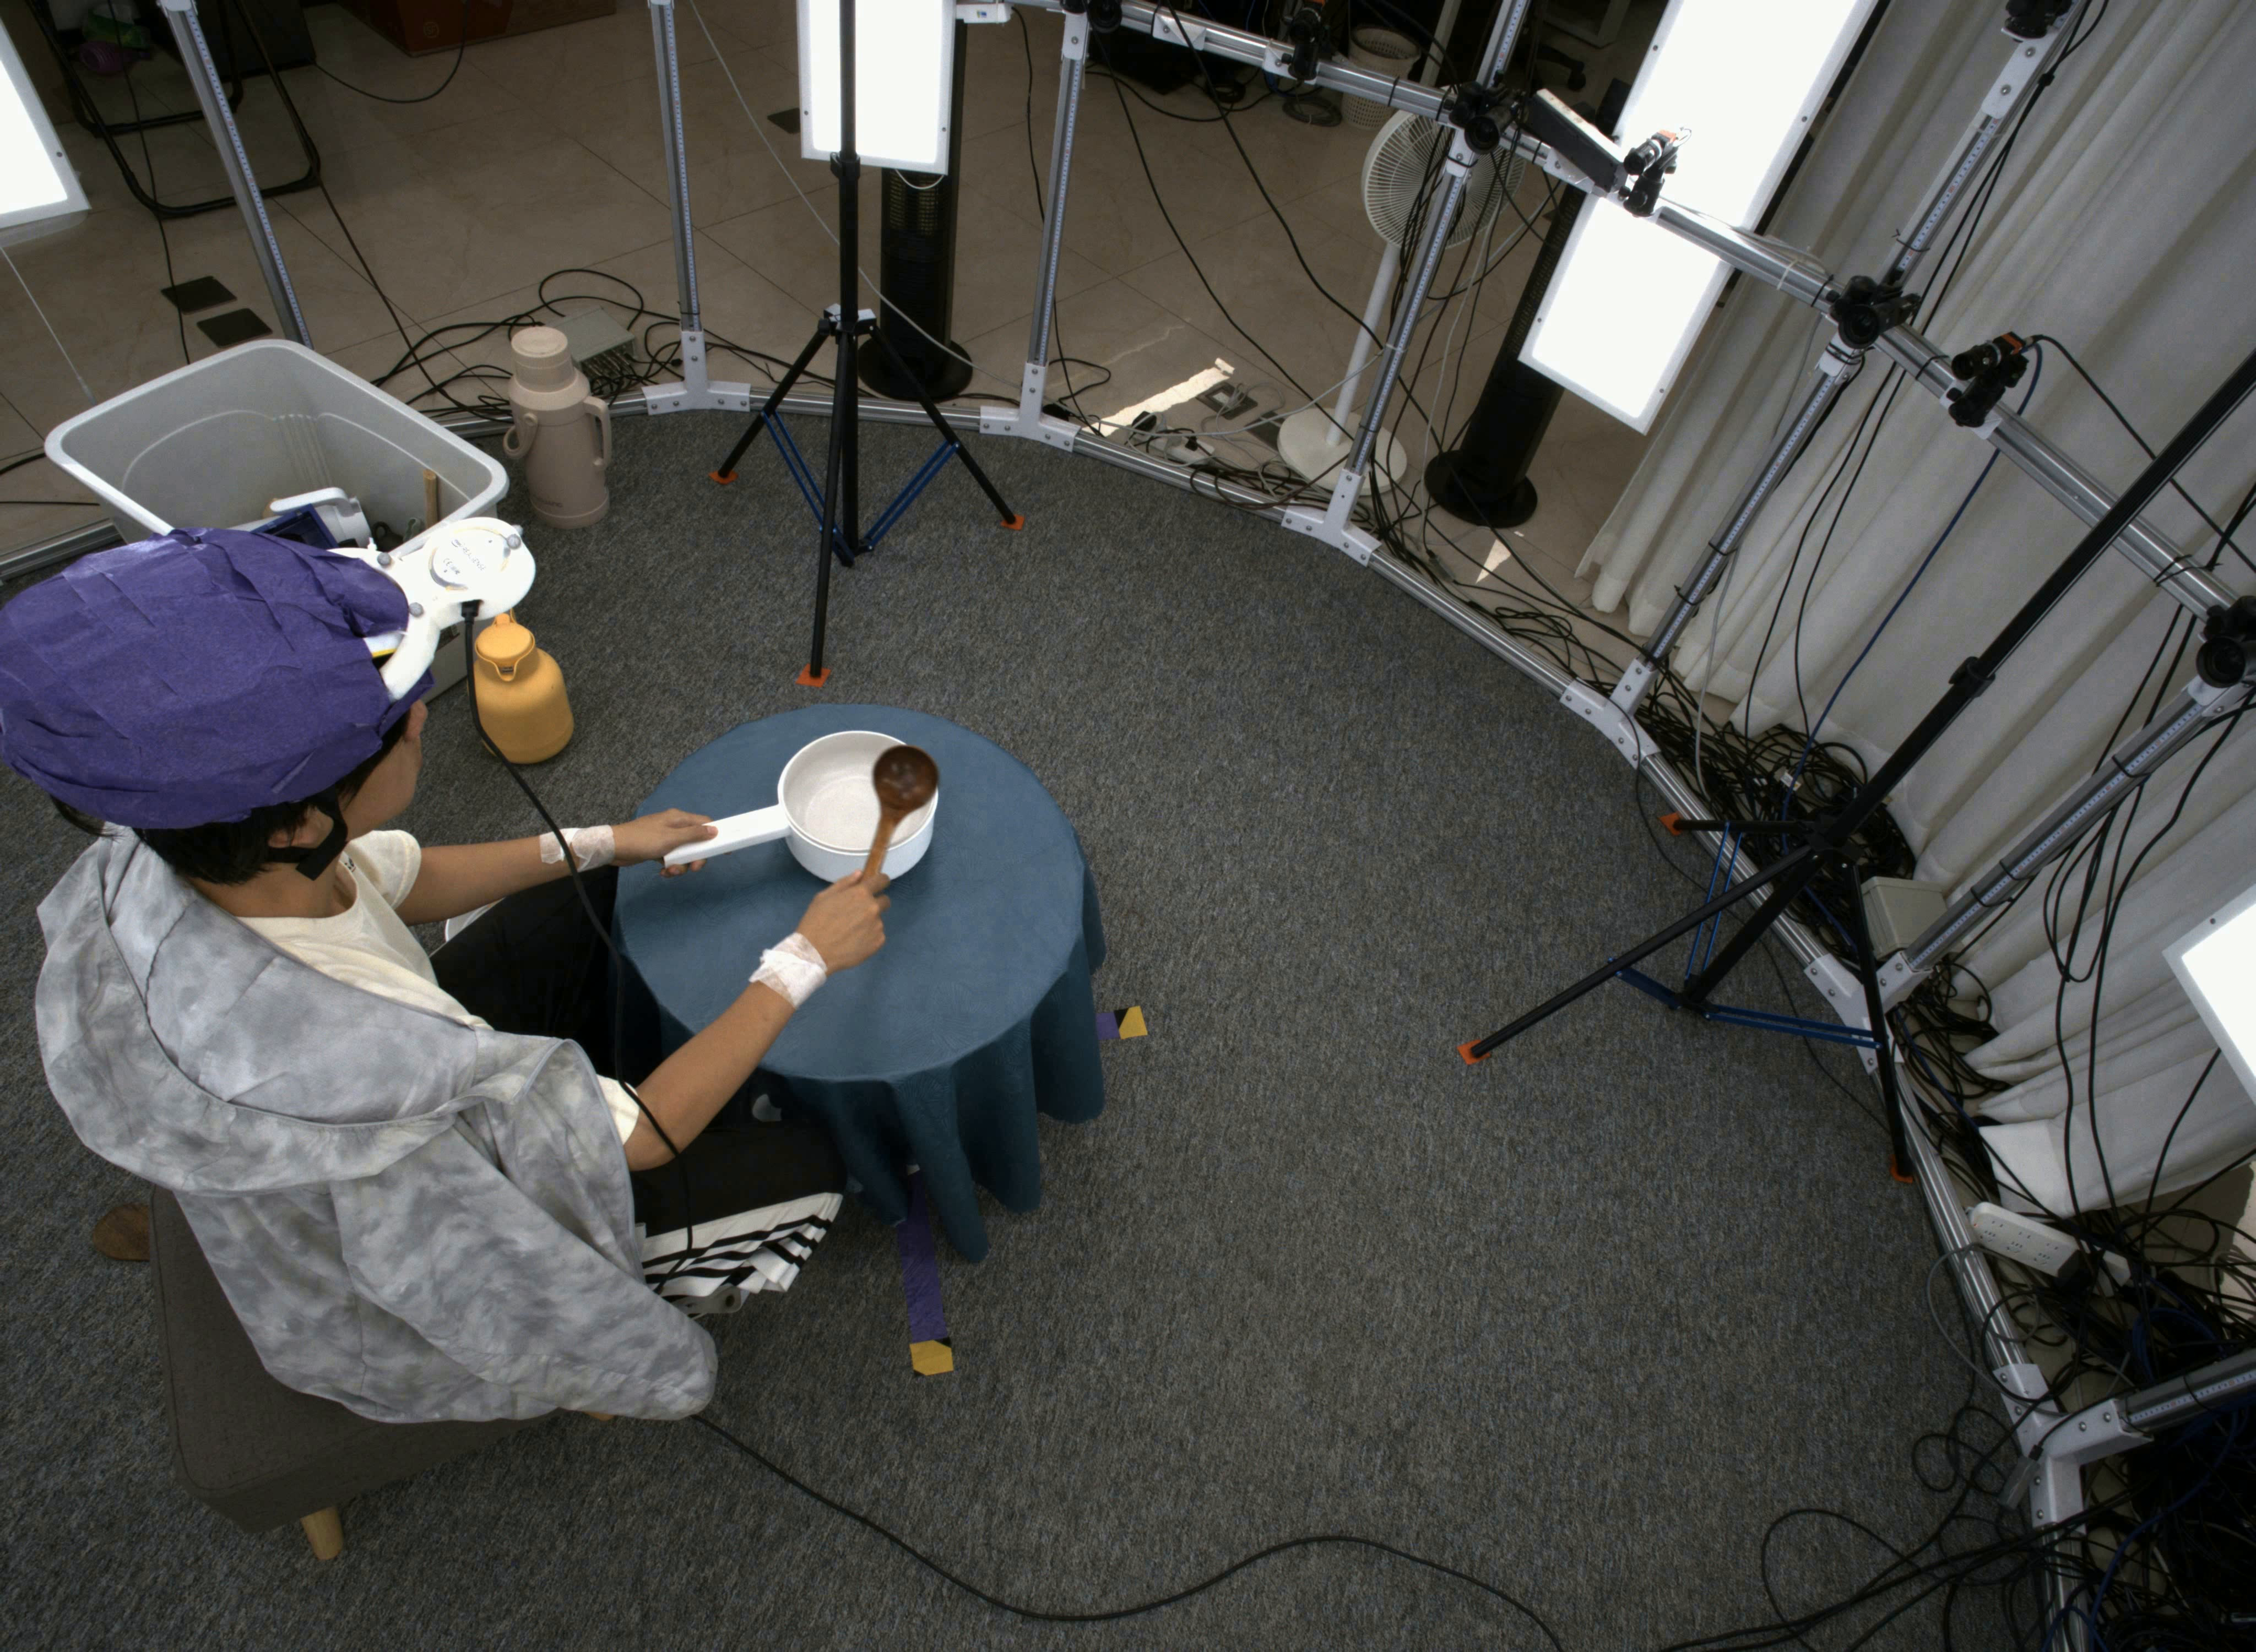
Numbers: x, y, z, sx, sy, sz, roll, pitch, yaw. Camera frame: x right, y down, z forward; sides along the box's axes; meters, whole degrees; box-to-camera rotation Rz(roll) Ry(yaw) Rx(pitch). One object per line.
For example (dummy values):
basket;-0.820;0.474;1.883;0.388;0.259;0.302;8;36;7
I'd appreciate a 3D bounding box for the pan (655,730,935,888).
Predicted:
pan;-0.420;0.003;1.661;0.356;0.104;0.196;-17;60;-24

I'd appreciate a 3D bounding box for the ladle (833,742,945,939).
ladle;-0.279;0.008;1.498;0.081;0.078;0.270;18;42;-4
